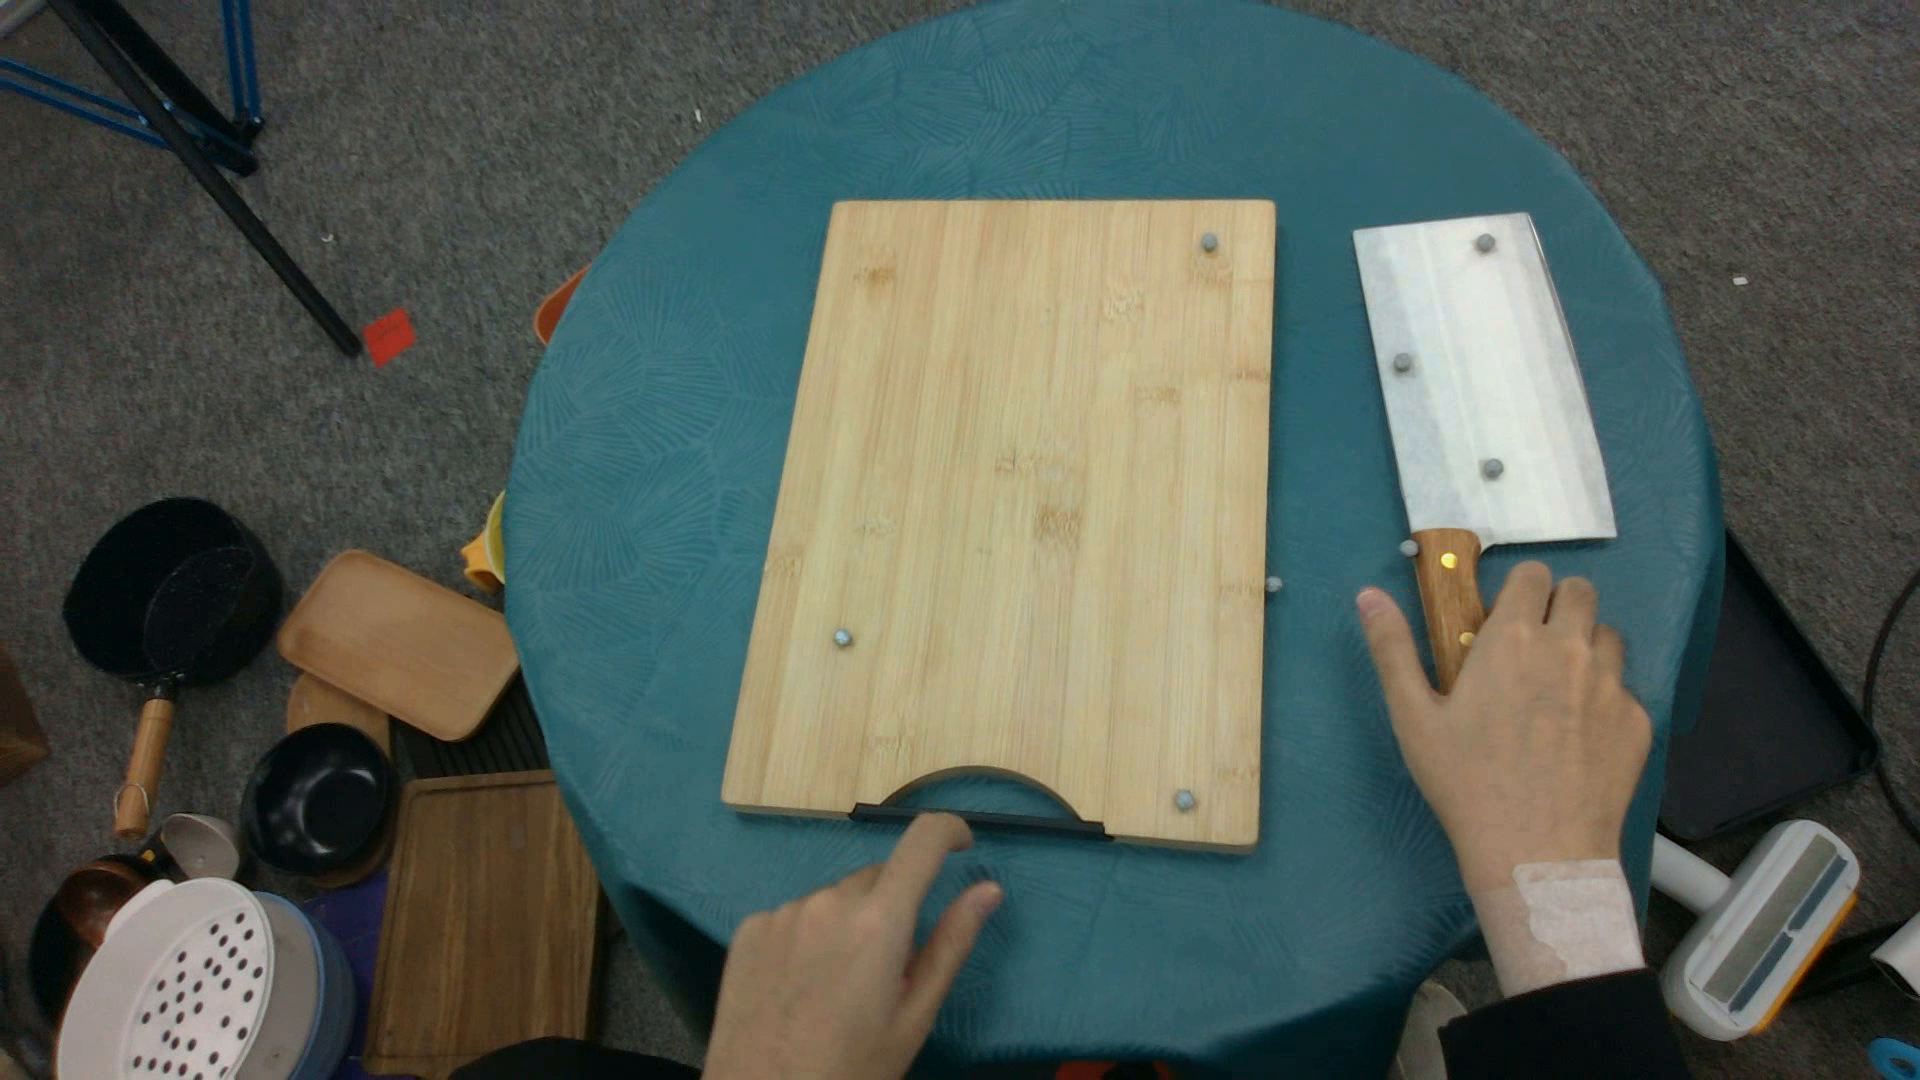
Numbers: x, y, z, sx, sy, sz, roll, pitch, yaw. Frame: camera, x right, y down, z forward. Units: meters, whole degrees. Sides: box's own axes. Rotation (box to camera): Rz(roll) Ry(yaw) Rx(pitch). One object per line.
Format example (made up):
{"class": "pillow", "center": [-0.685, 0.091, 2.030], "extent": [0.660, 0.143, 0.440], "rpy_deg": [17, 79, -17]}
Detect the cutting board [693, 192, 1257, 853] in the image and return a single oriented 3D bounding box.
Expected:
{"class": "cutting board", "center": [0.019, -0.028, 0.679], "extent": [0.250, 0.023, 0.350], "rpy_deg": [1, 65, 9]}

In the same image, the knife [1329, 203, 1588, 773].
{"class": "knife", "center": [0.242, -0.040, 0.652], "extent": [0.093, 0.021, 0.307], "rpy_deg": [-5, 62, 5]}
